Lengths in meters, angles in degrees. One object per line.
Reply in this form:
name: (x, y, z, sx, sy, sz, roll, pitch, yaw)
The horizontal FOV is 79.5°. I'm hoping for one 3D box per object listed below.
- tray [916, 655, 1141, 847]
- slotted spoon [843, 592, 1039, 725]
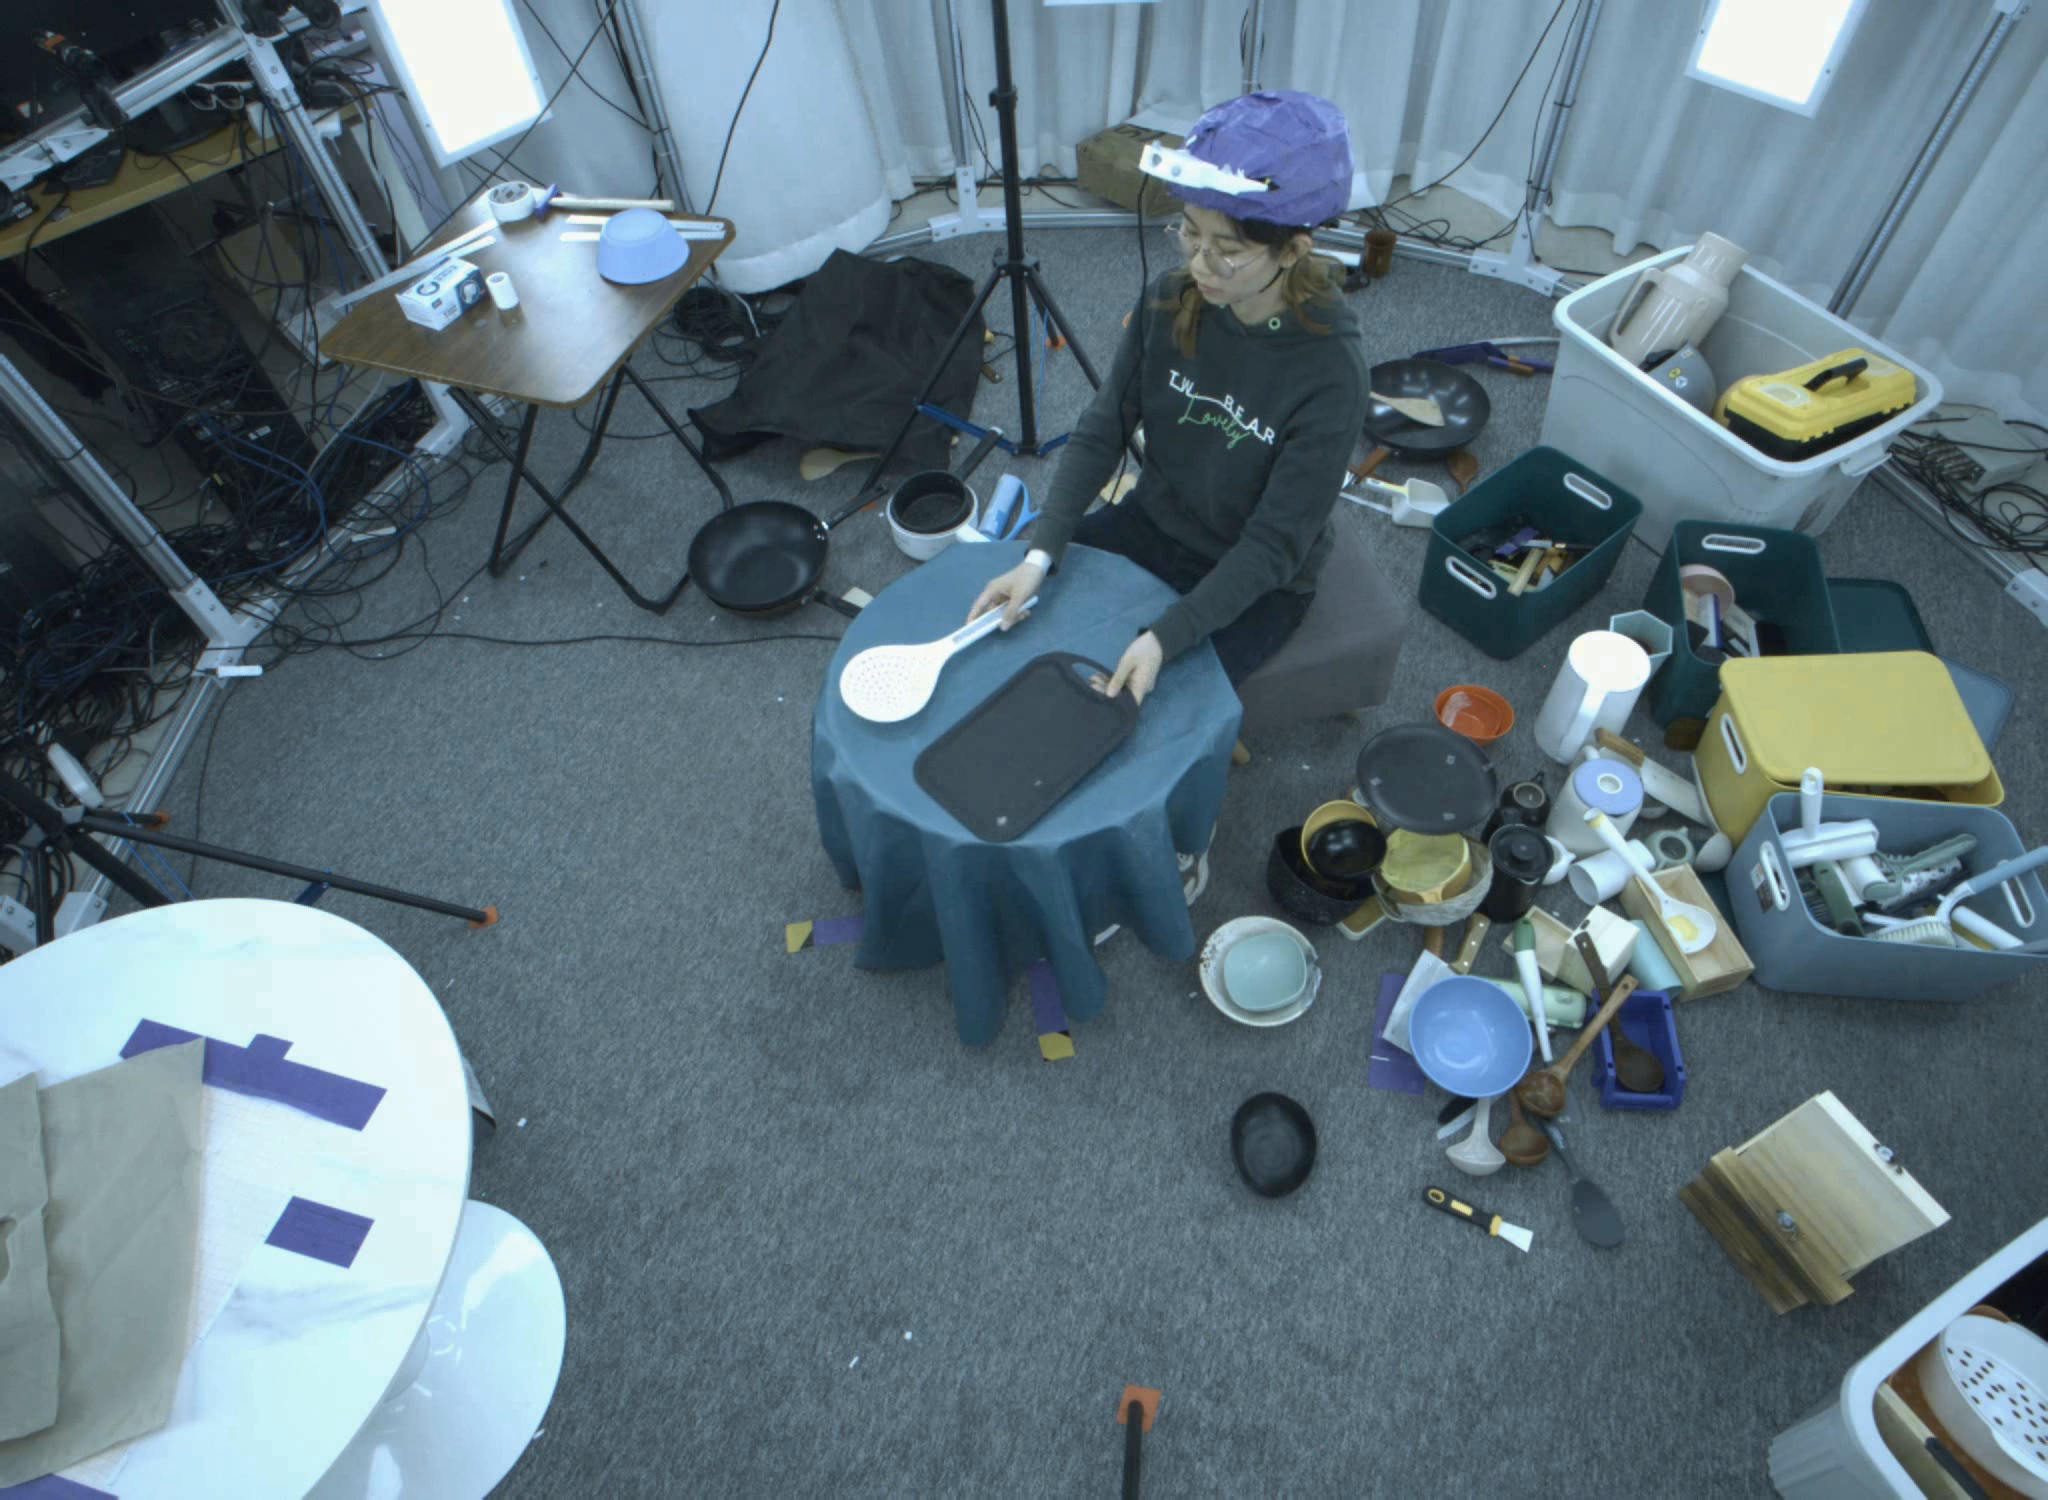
tray: (0.012, -0.012, 1.783, 0.327, 0.010, 0.207, -41, 62, -18)
slotted spoon: (-0.119, -0.149, 1.868, 0.352, 0.046, 0.134, -36, 69, -18)
